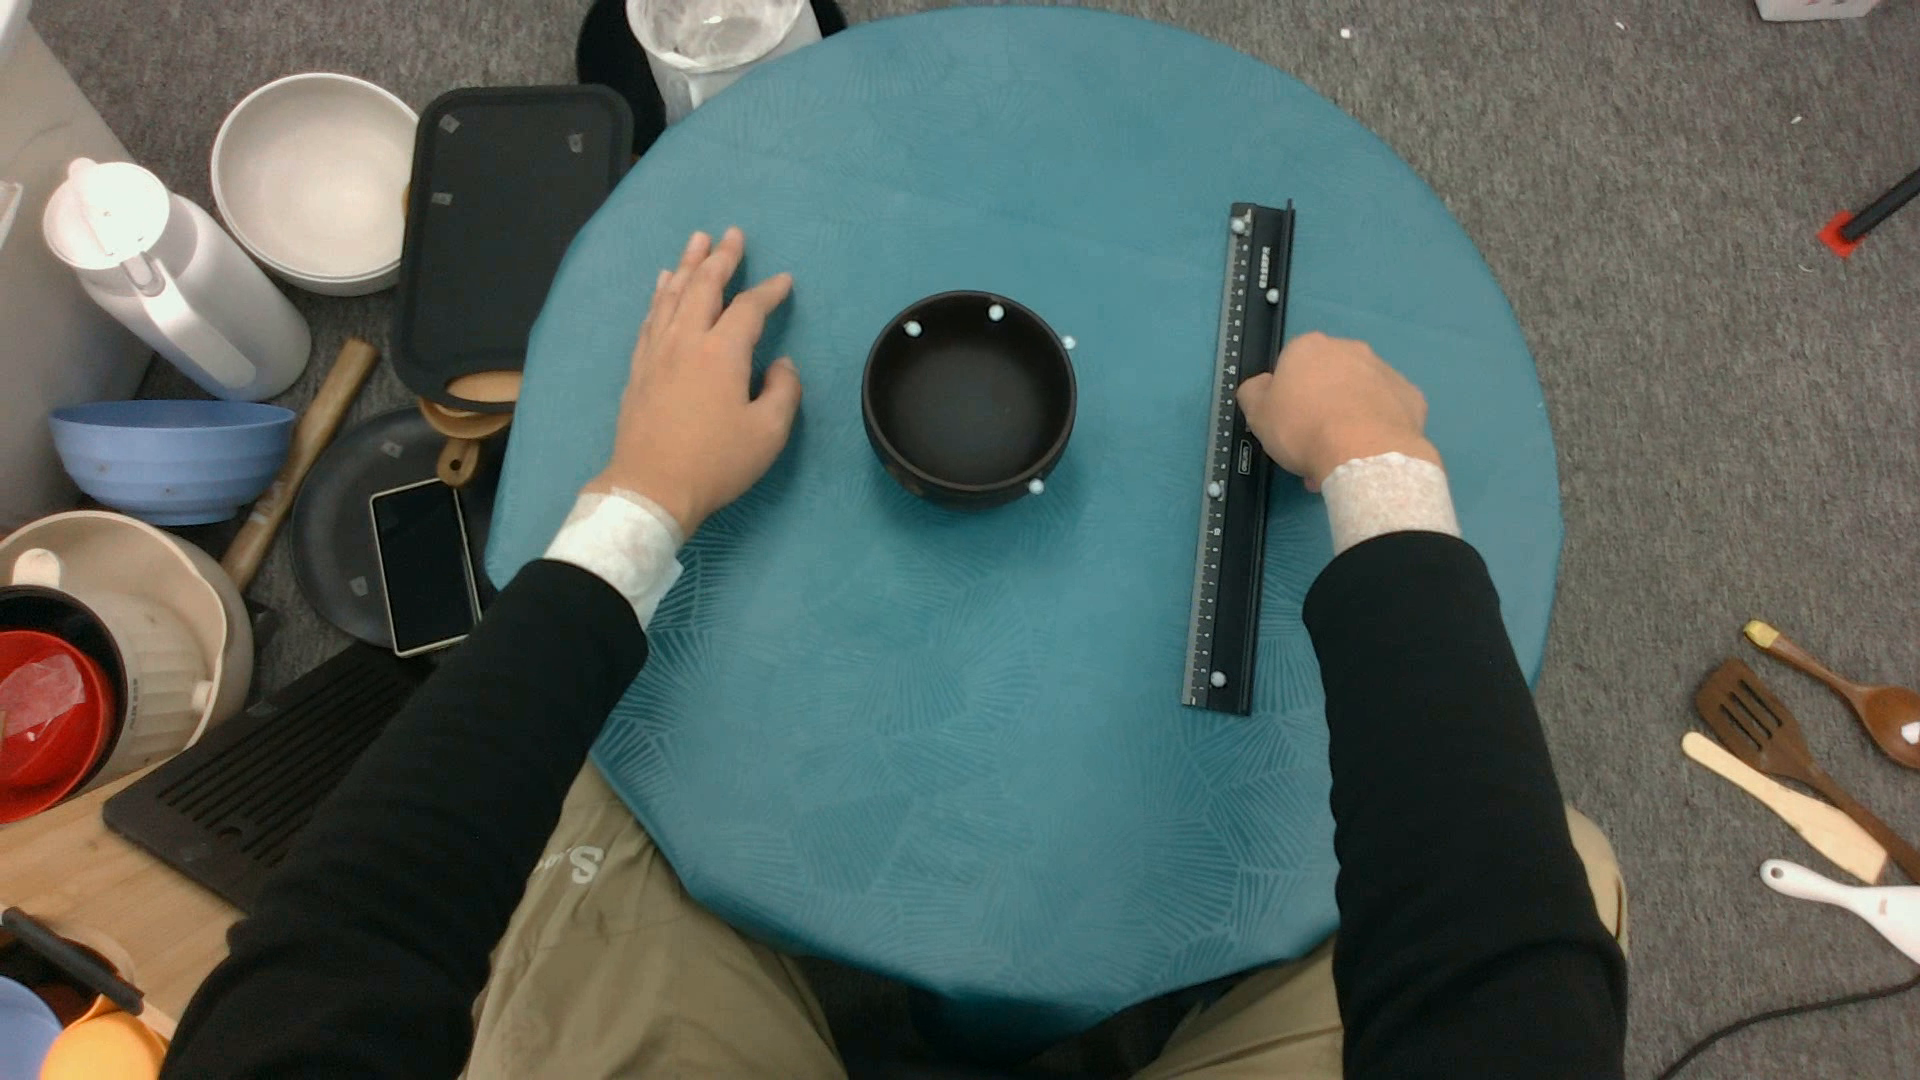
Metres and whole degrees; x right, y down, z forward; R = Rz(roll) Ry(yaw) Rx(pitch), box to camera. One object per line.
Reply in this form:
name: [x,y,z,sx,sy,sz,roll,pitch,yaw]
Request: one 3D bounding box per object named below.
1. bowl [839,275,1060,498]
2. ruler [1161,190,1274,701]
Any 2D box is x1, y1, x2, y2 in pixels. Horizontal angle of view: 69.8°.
bowl: [-0.007,-0.077,0.751,0.118,0.069,0.118,1,72,-3]
ruler: [0.151,-0.064,0.788,0.039,0.017,0.313,9,73,1]
